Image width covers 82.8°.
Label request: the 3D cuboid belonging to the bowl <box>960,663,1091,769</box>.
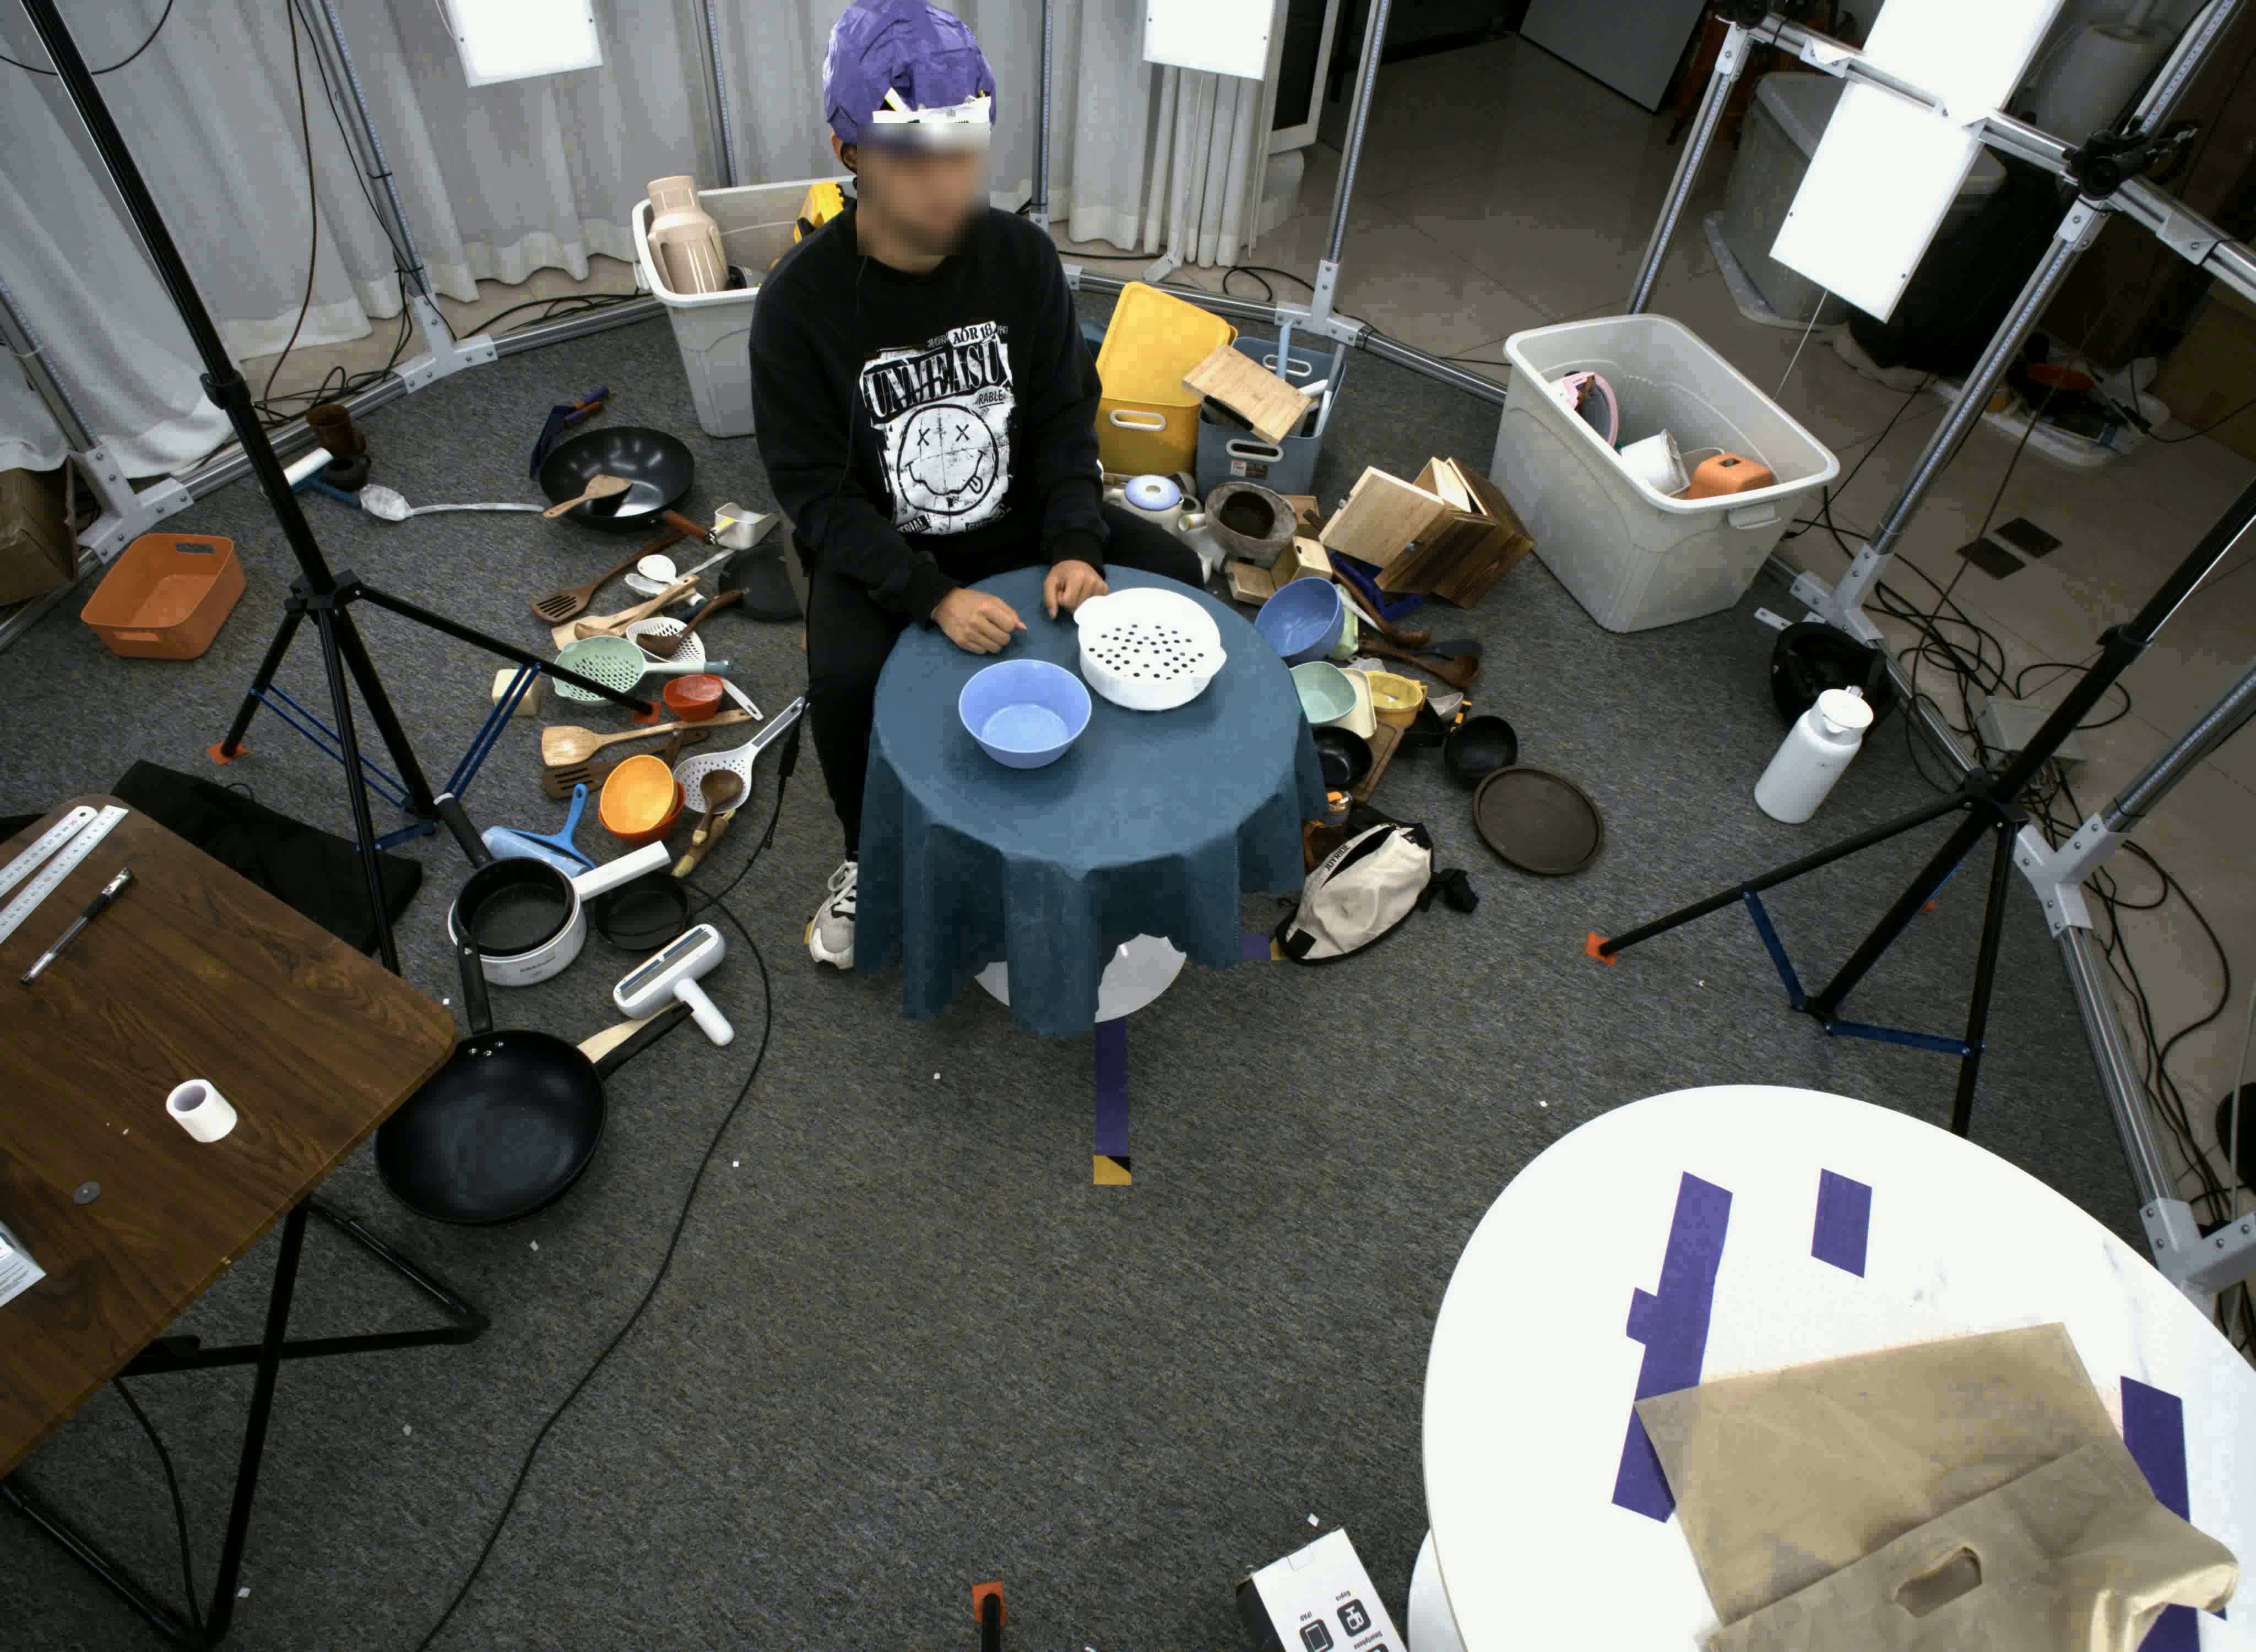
[{"bbox_3d":[-0.140,-0.141,1.751,0.176,0.068,0.180,2,48,-3],"label":"bowl"}]

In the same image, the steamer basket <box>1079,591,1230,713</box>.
[{"bbox_3d":[0.034,-0.251,1.861,0.232,0.067,0.205,27,52,16],"label":"steamer basket"}]
